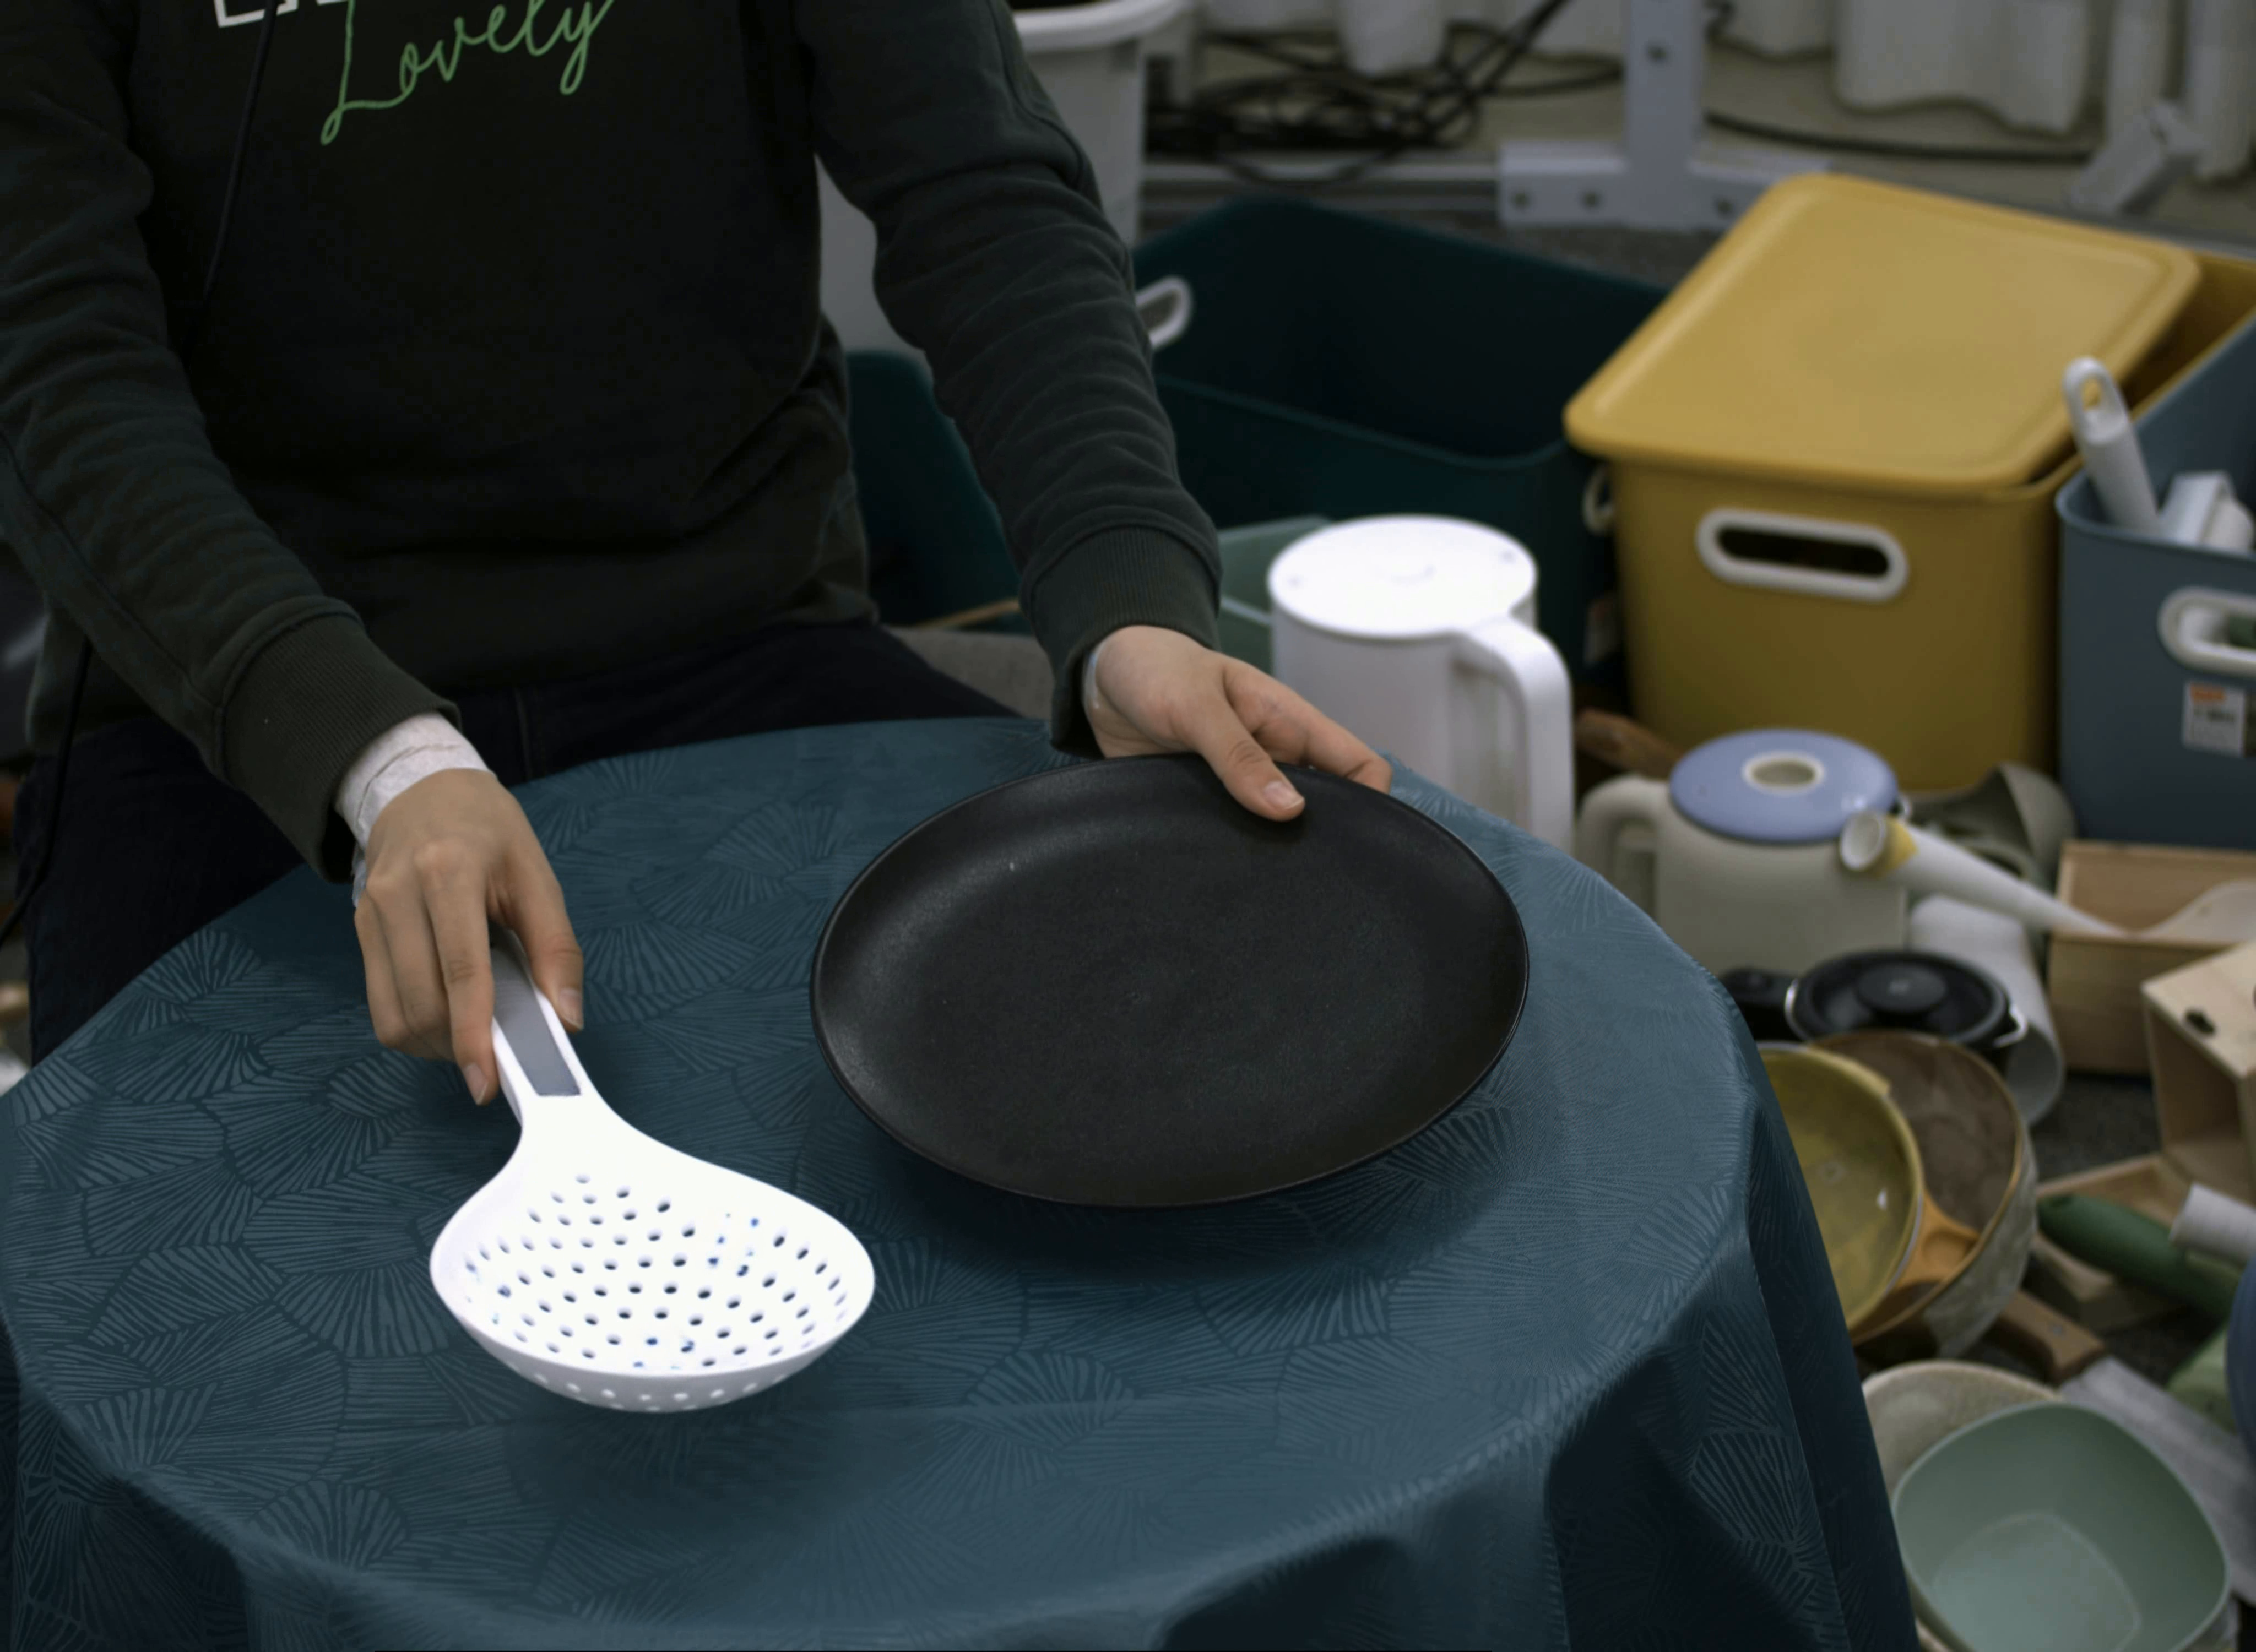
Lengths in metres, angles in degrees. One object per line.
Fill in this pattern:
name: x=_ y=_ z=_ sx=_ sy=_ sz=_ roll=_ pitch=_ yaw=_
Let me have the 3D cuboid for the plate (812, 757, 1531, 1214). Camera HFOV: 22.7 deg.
plate: x=0.015 y=0.056 z=1.895 sx=0.243 sy=0.023 sz=0.249 roll=-2 pitch=36 yaw=2

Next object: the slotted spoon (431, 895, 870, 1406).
slotted spoon: x=-0.181 y=0.099 z=1.821 sx=0.136 sy=0.045 sz=0.353 roll=-2 pitch=28 yaw=-19
